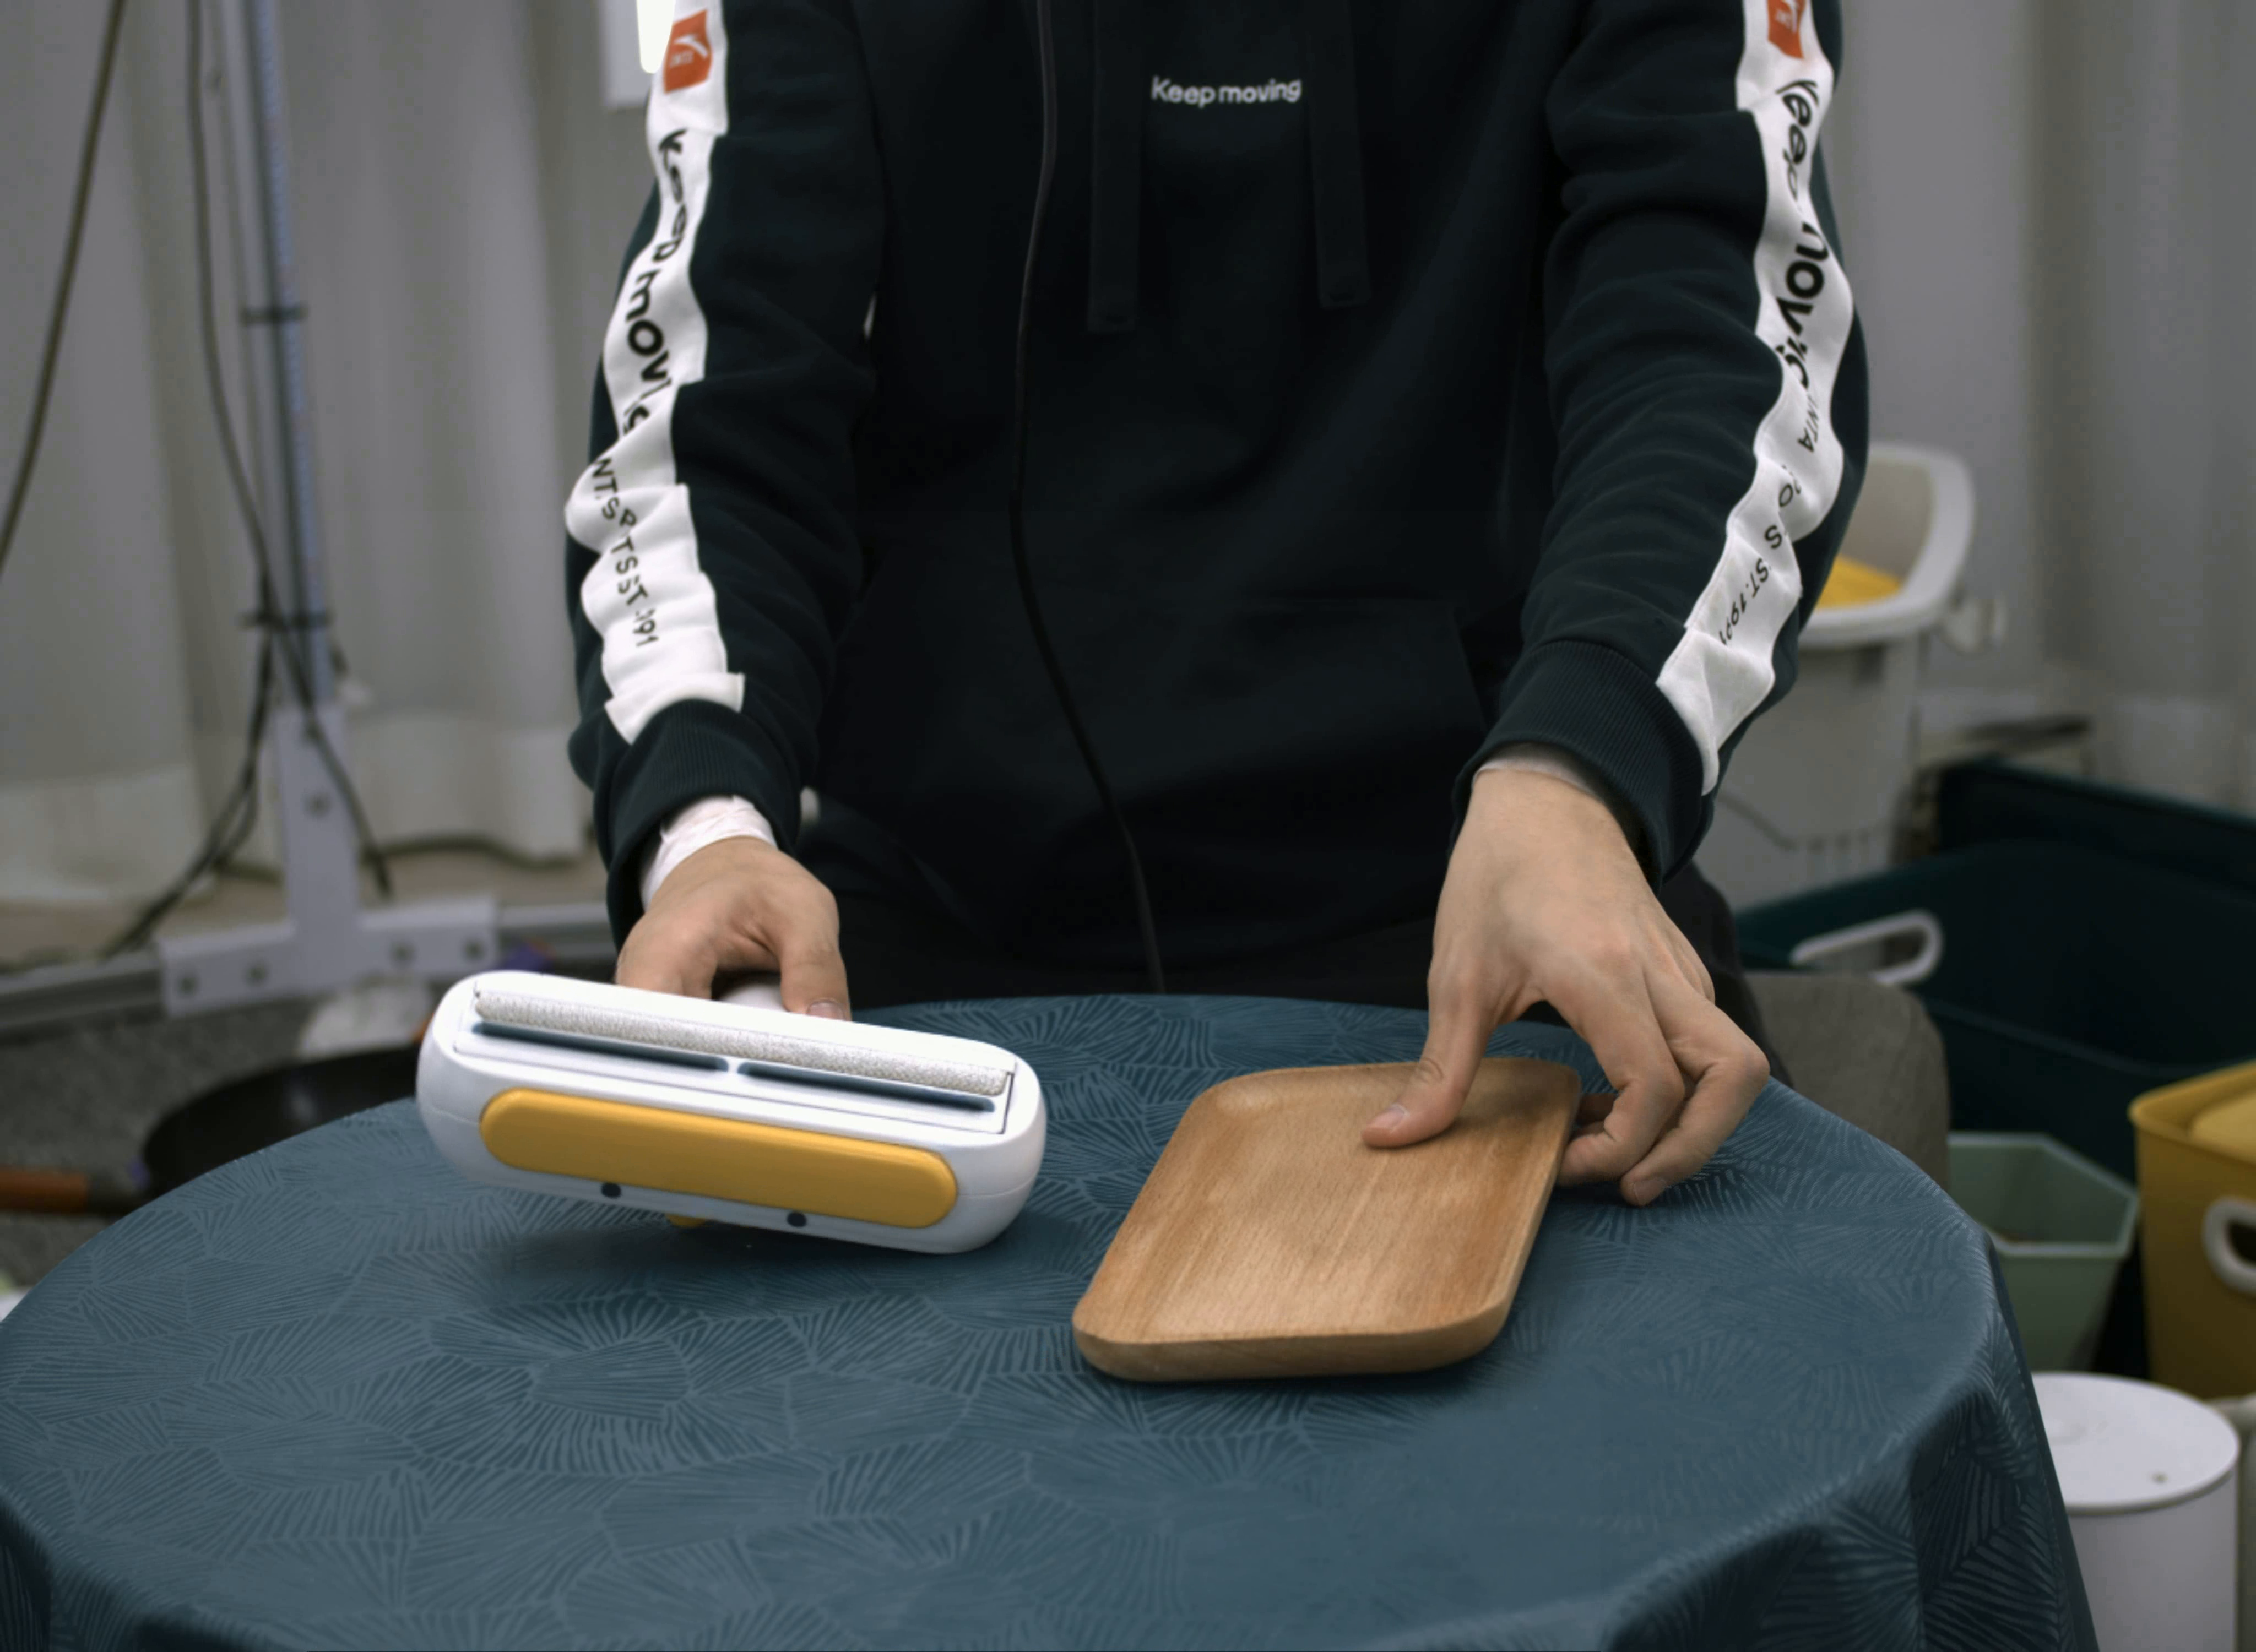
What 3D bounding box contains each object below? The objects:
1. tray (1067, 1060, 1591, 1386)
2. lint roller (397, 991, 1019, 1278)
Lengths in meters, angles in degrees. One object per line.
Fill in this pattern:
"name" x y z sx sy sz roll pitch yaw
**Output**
"tray" 0.065 0.117 1.649 0.130 0.023 0.252 -1 15 13
"lint roller" -0.123 0.092 1.736 0.192 0.074 0.193 7 8 6
